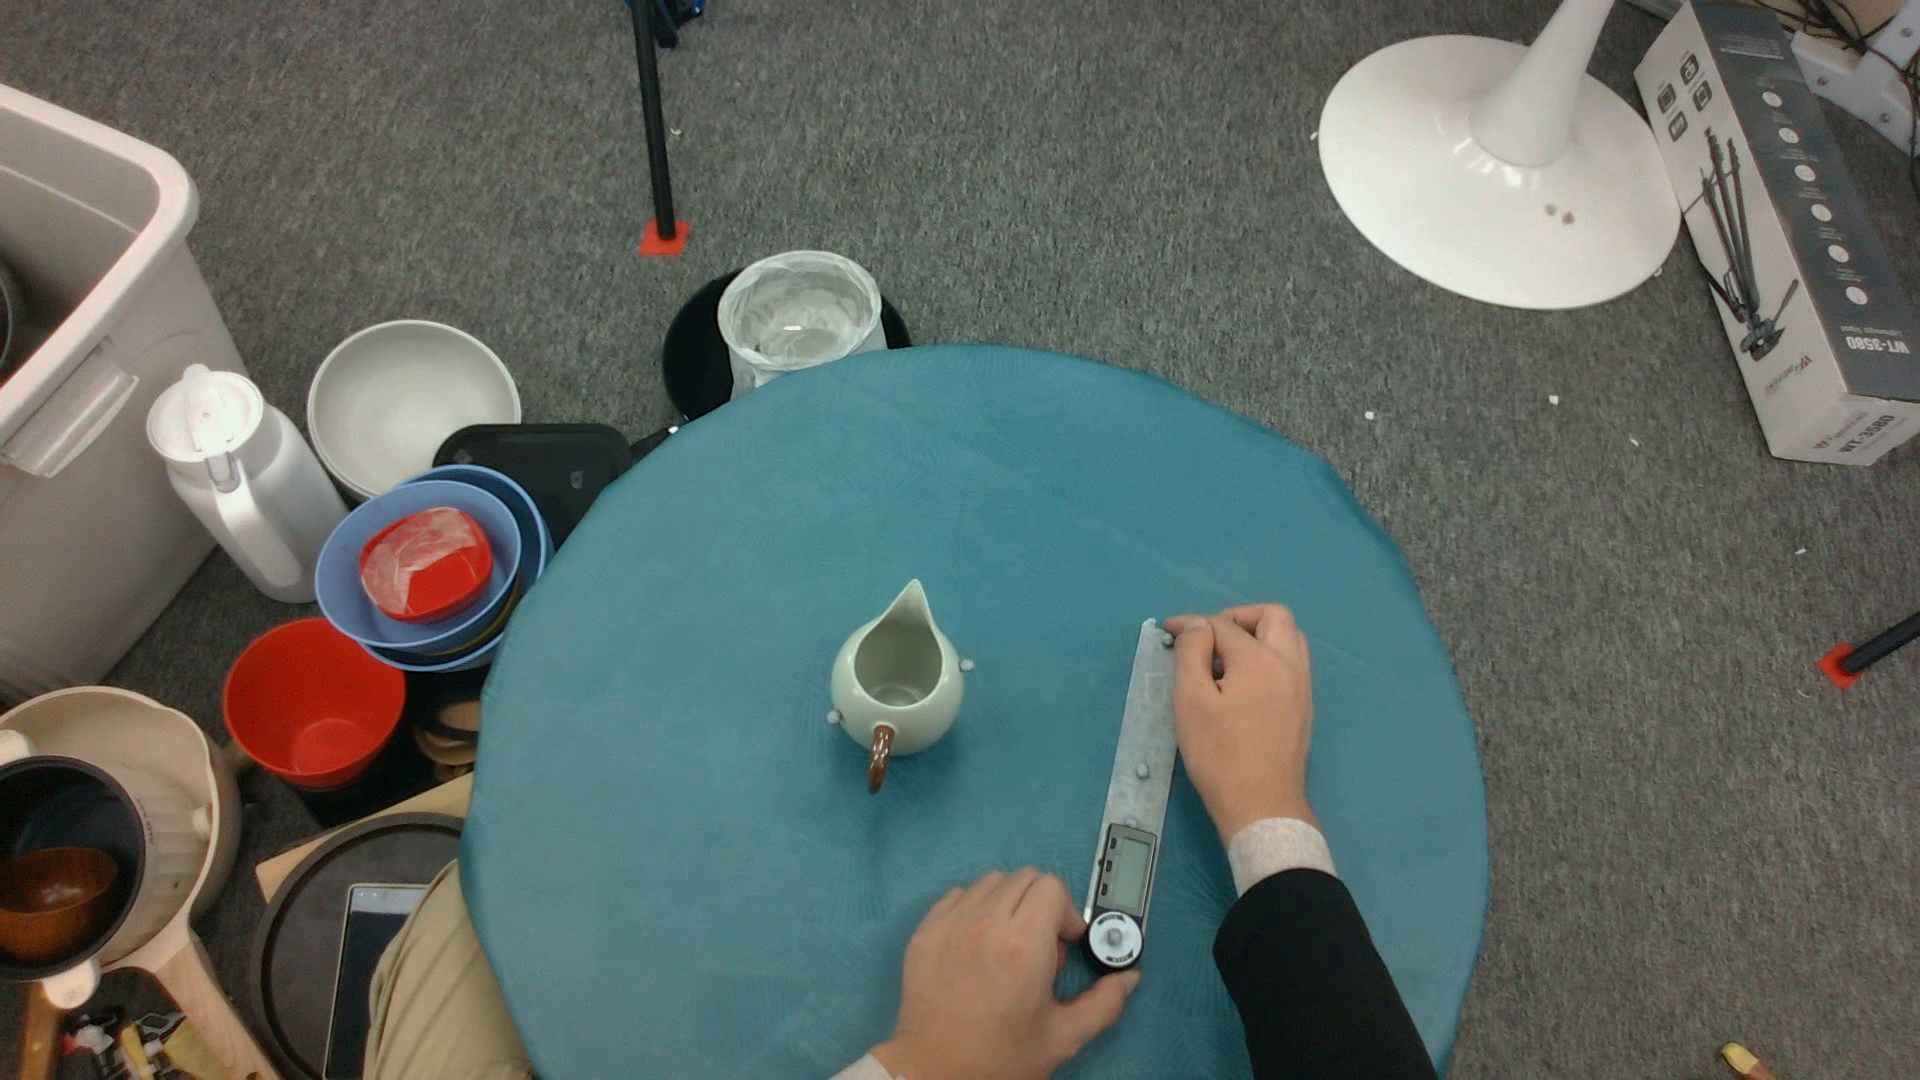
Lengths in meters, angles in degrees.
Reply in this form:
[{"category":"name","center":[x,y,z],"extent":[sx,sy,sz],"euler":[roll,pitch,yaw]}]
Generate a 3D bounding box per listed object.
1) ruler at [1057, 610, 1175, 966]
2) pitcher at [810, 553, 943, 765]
[{"category":"ruler","center":[0.094,0.138,0.806],"extent":[0.038,0.024,0.219],"euler":[16,62,-1]},{"category":"pitcher","center":[-0.050,0.079,0.787],"extent":[0.076,0.087,0.120],"euler":[13,59,5]}]
